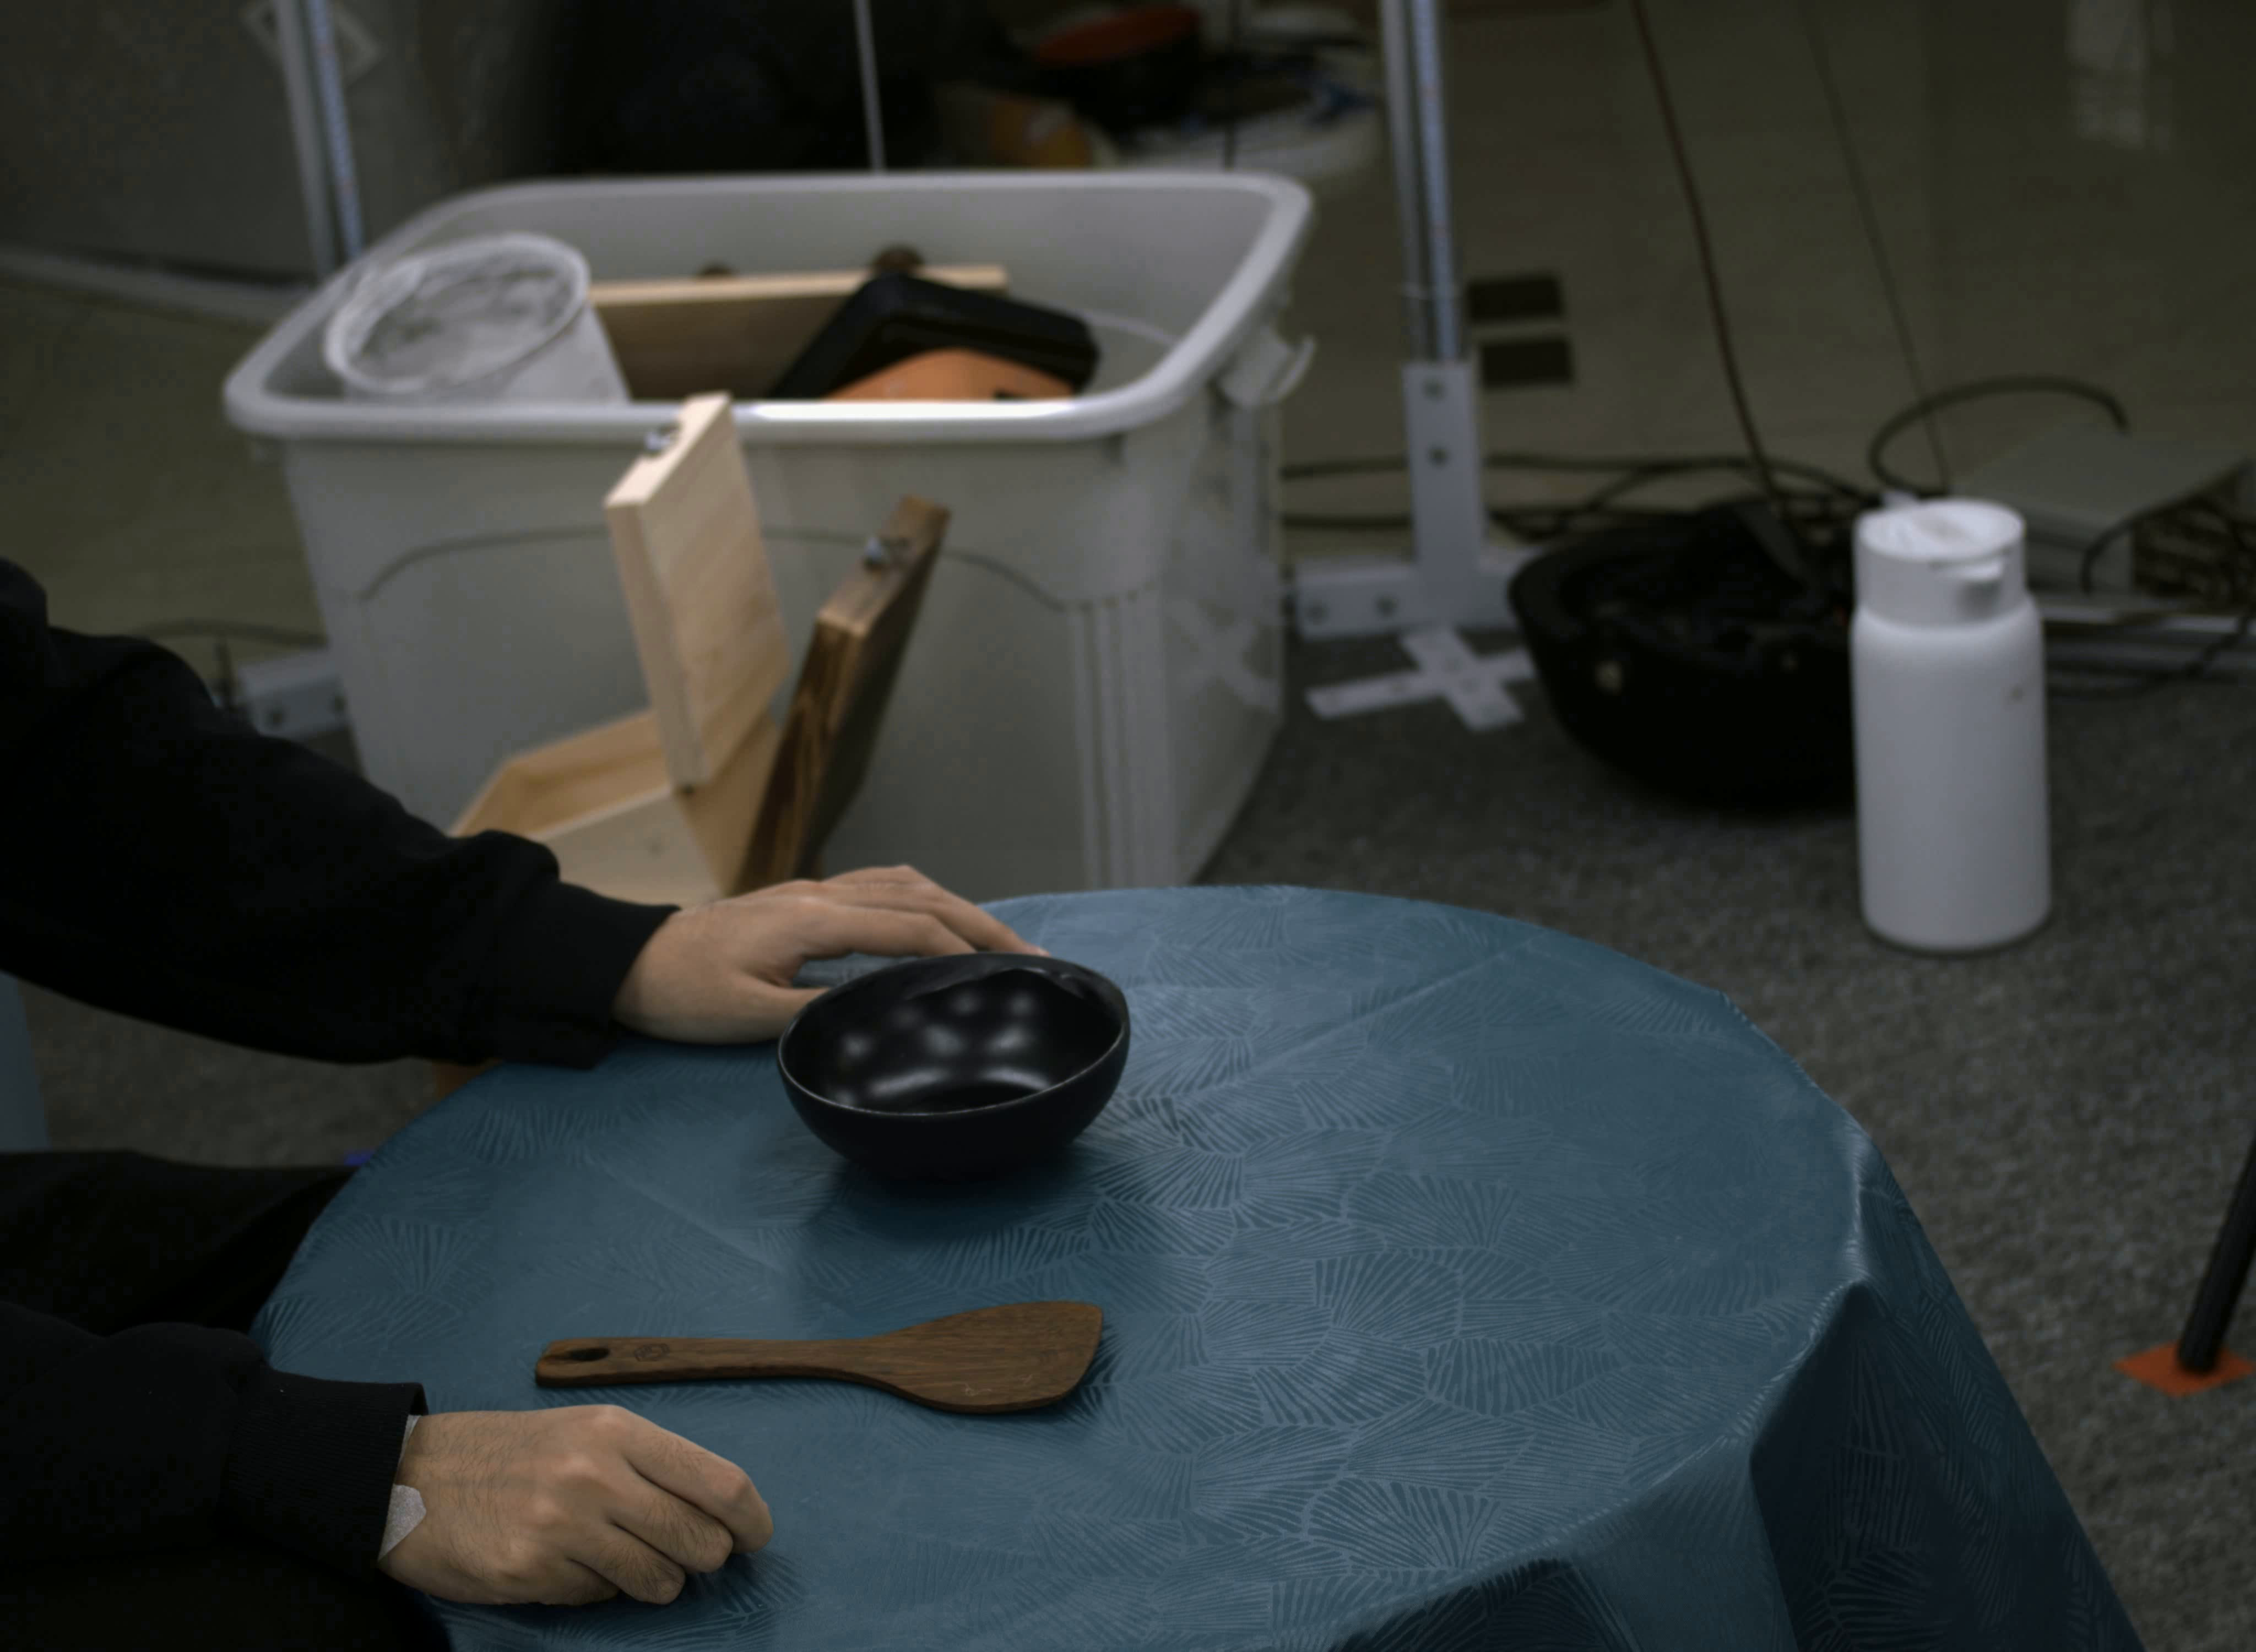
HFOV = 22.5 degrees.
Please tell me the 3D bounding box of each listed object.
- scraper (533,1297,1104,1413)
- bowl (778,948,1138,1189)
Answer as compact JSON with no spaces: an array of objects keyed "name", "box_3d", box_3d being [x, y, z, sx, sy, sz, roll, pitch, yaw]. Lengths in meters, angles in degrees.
[{"name":"scraper","box_3d":[-0.113,0.193,2.055,0.211,0.011,0.075,-2,24,12]},{"name":"bowl","box_3d":[-0.064,0.101,2.193,0.140,0.050,0.138,-6,28,3]}]
